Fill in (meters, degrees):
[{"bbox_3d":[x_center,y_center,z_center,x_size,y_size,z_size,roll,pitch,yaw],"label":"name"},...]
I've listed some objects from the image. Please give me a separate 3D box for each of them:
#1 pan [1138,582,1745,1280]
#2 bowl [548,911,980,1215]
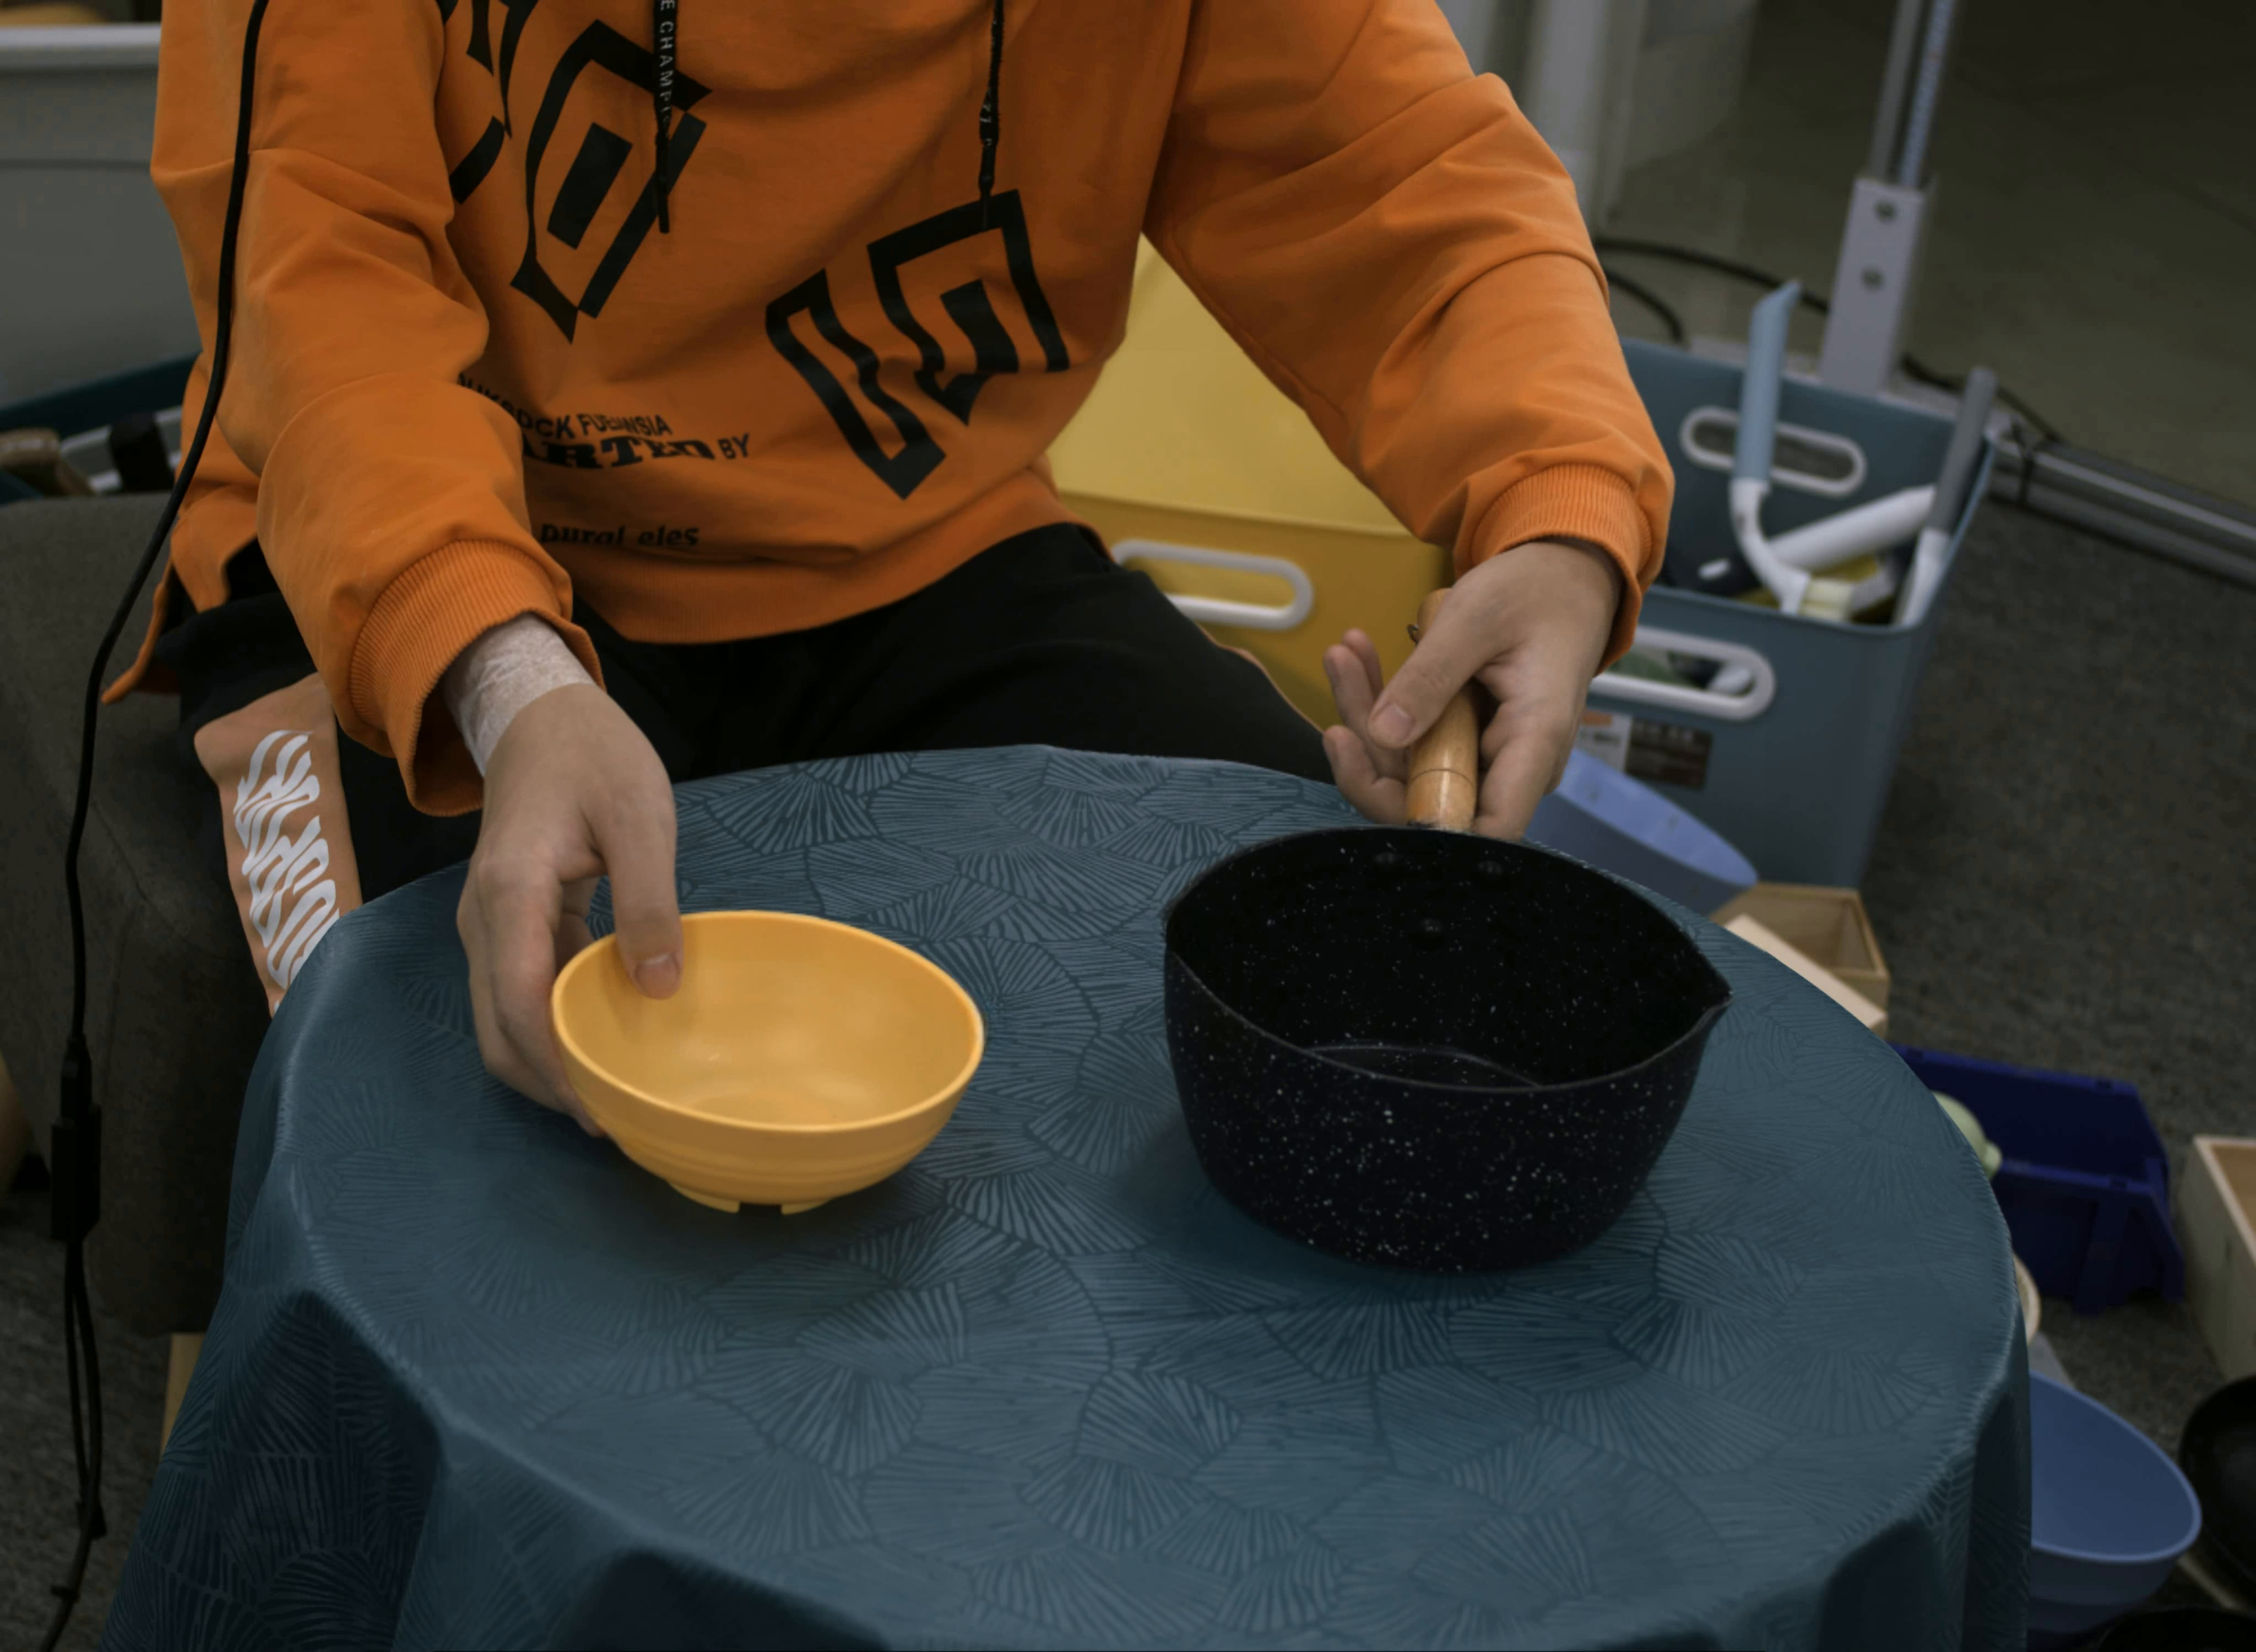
[{"bbox_3d":[0.107,0.033,1.885,0.207,0.108,0.345,5,28,0],"label":"pan"},{"bbox_3d":[-0.124,0.088,1.780,0.145,0.060,0.146,7,26,-4],"label":"bowl"}]
